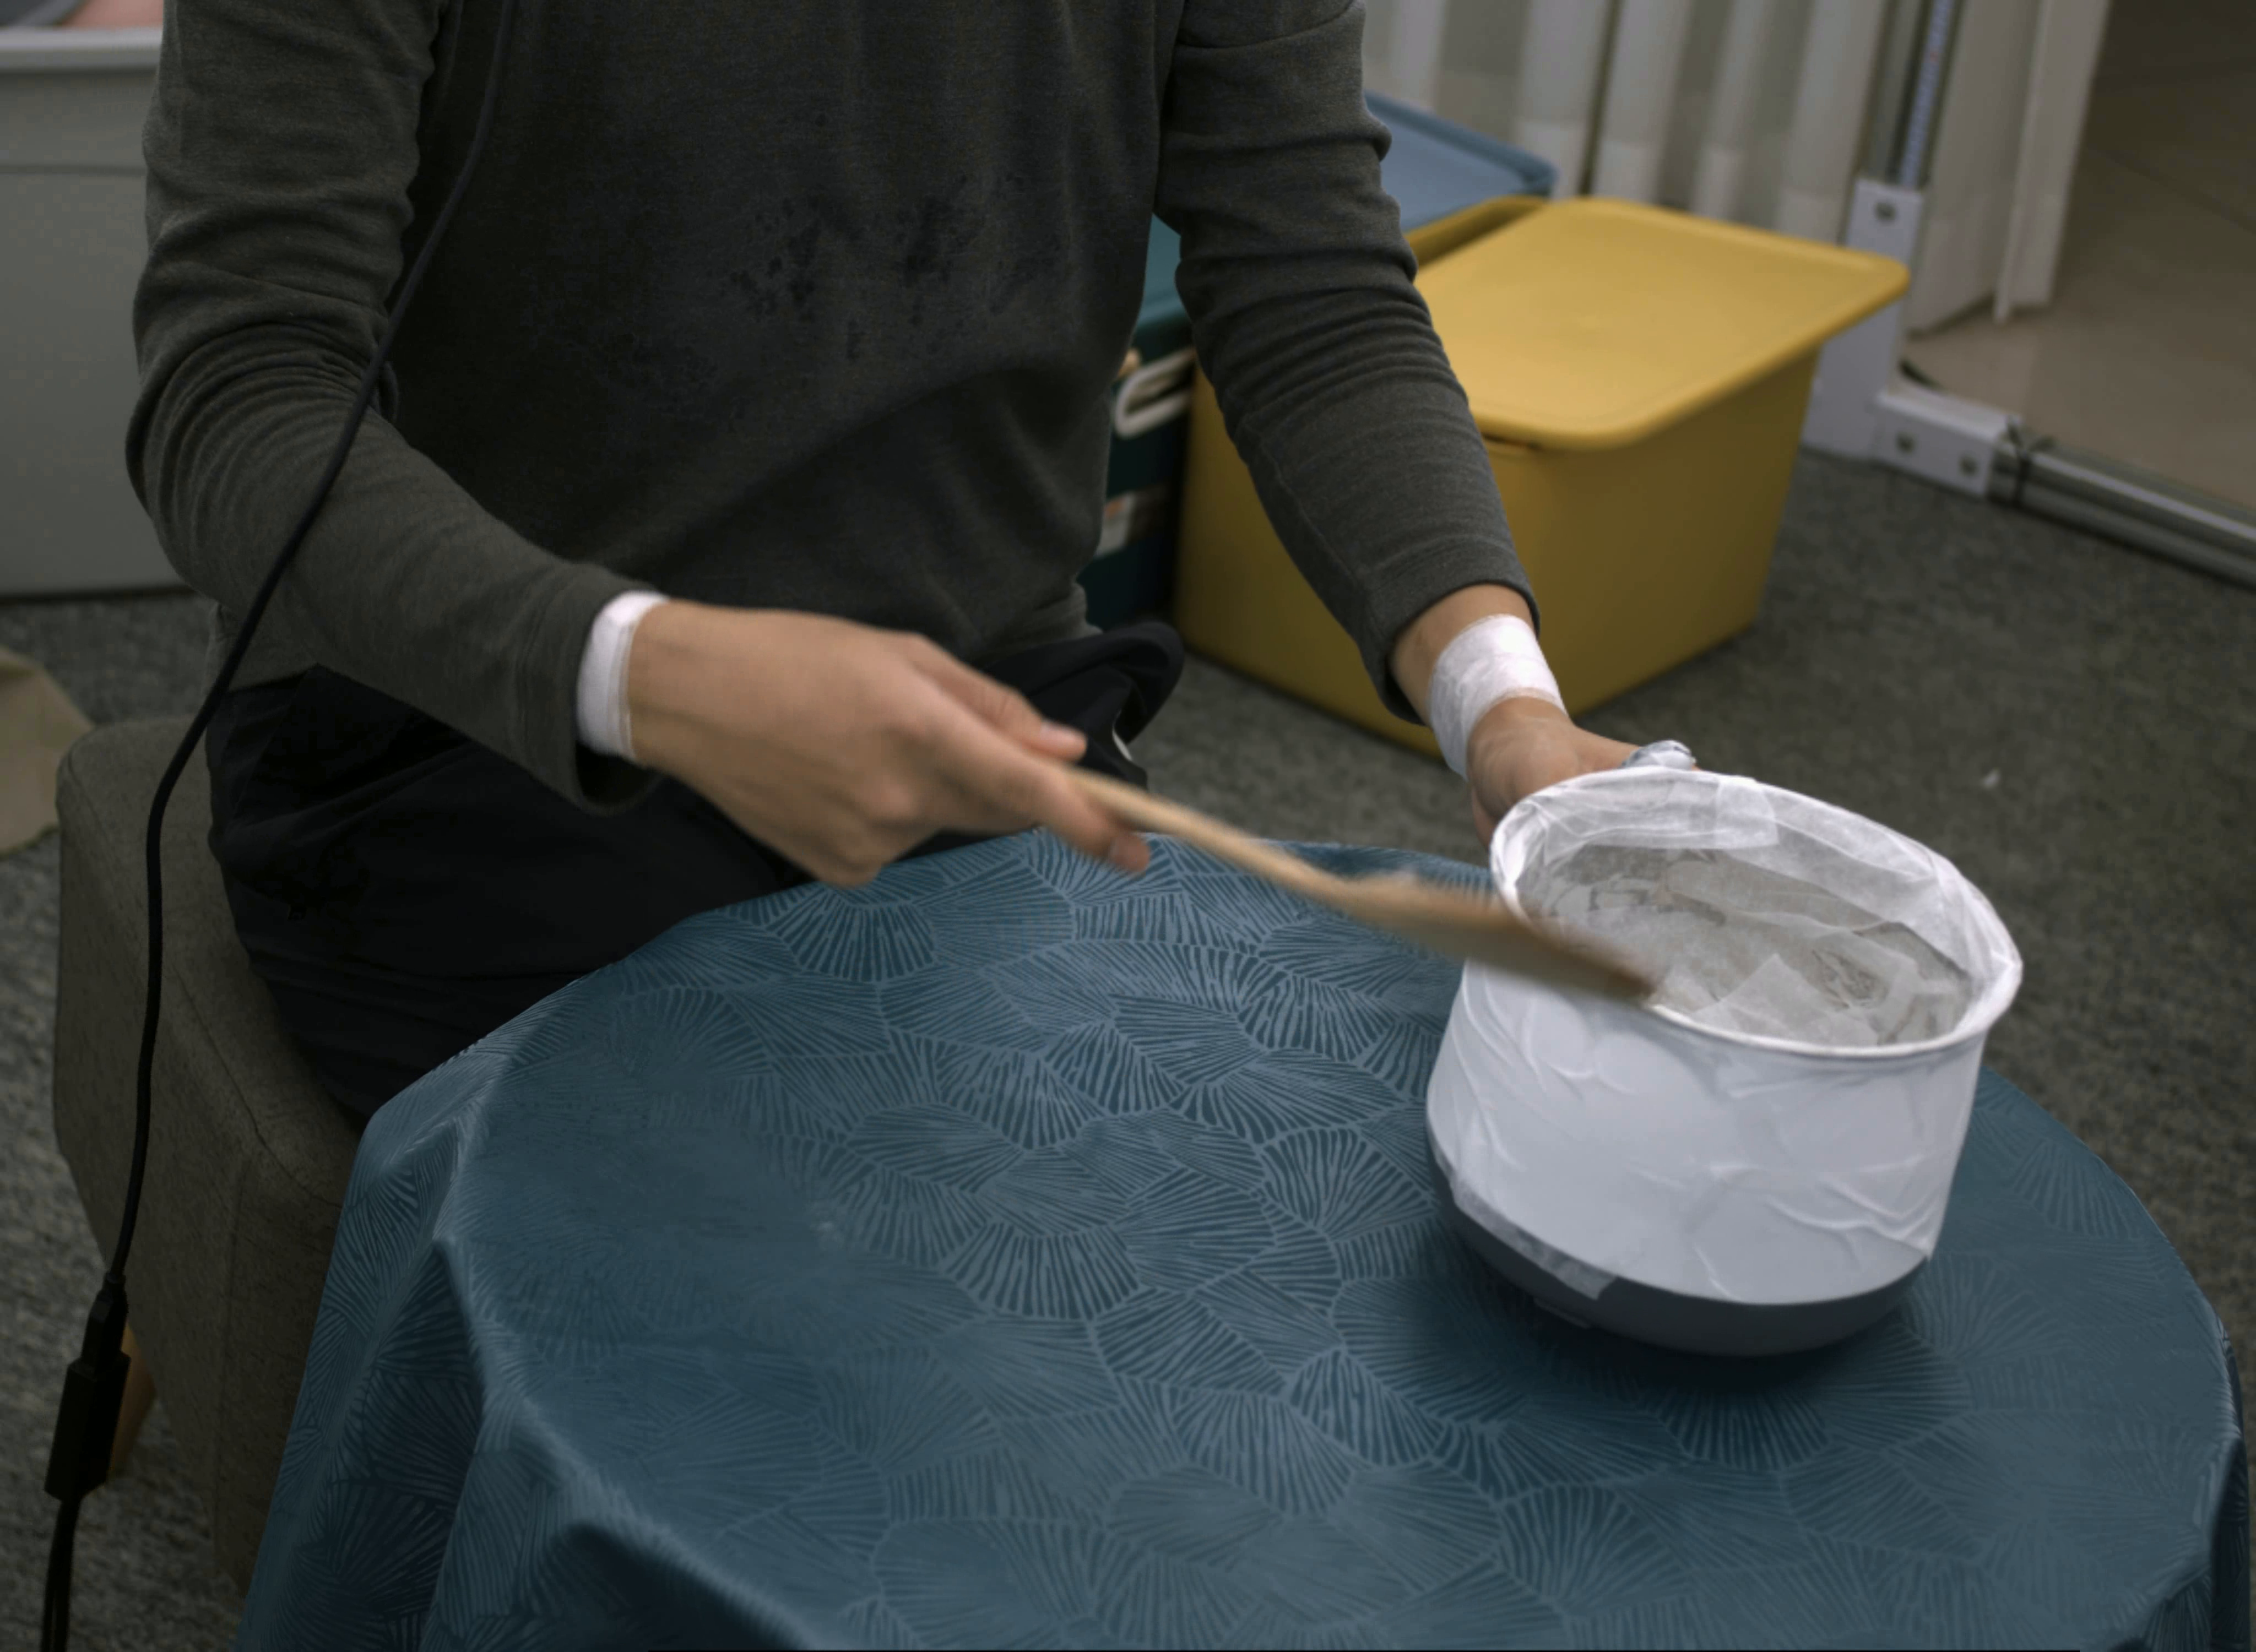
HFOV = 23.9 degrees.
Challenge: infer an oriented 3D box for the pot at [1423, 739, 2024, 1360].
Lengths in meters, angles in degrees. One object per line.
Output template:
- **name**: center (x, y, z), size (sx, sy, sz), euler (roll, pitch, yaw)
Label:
- **pot**: center (0.186, 0.066, 1.779), size (0.177, 0.136, 0.236), euler (4, 30, -16)

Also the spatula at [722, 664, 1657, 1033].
- **spatula**: center (0.001, 0.000, 1.660), size (0.393, 0.018, 0.095), euler (23, -4, 42)
